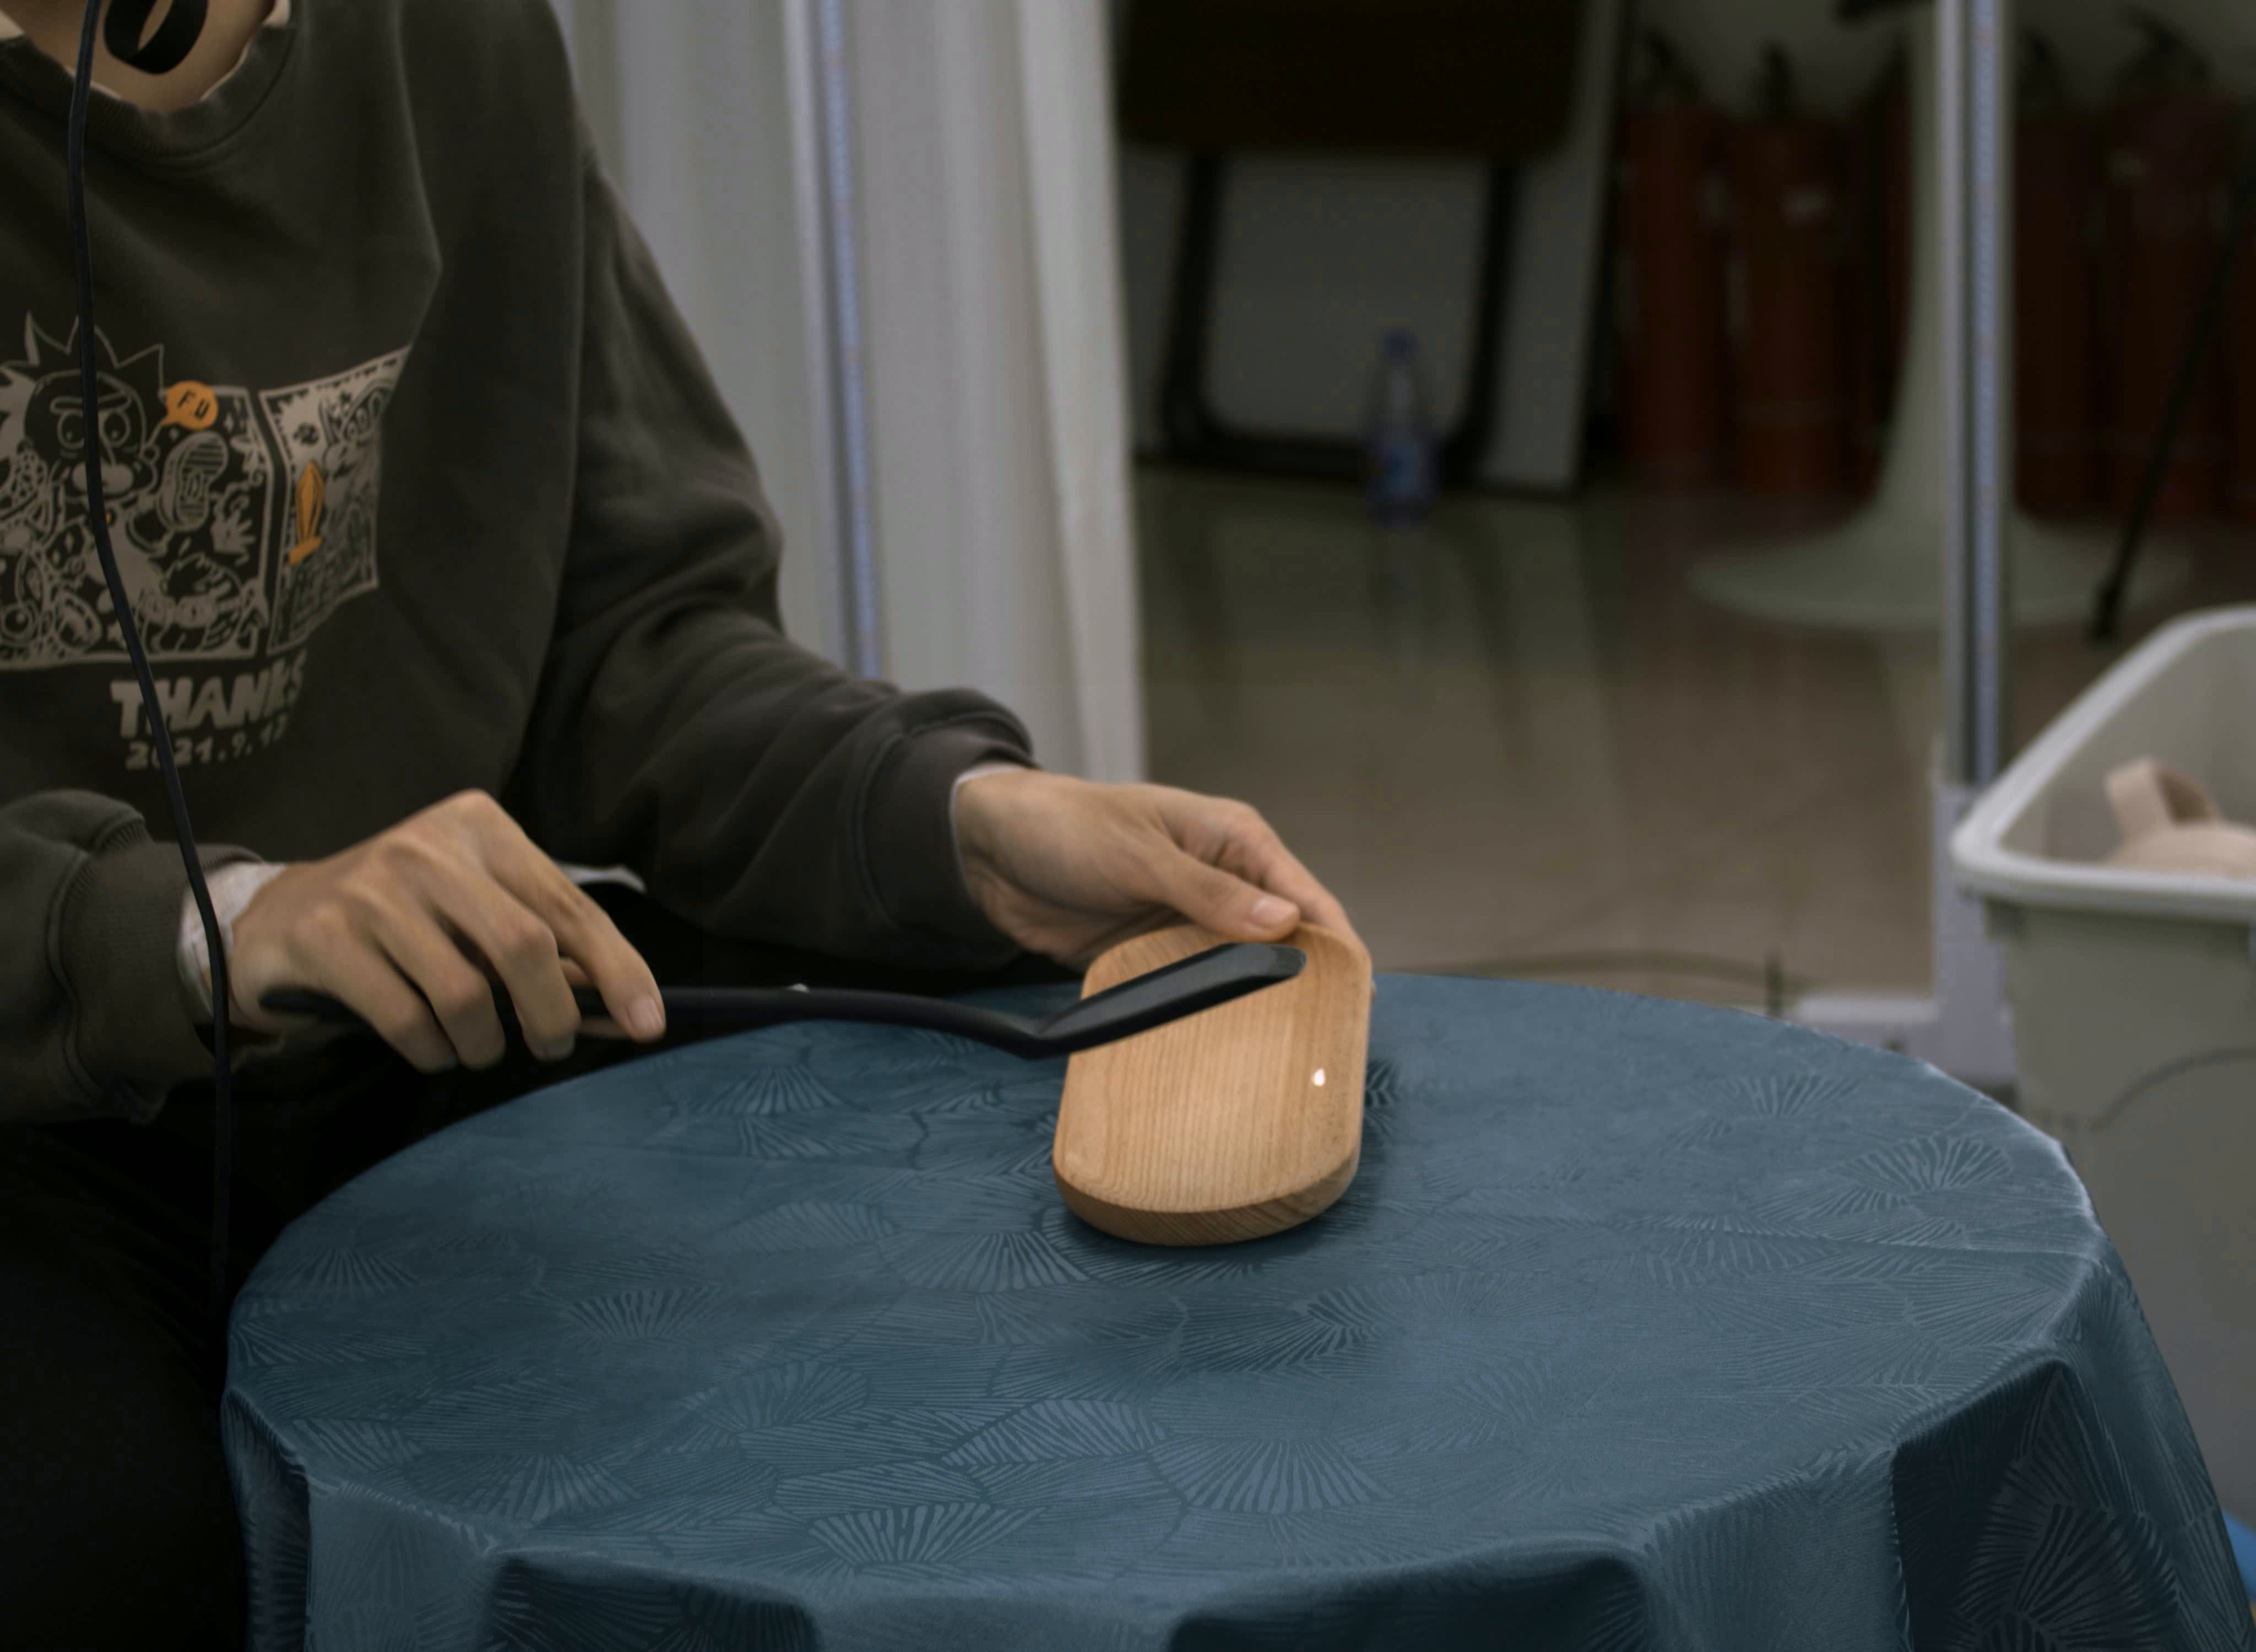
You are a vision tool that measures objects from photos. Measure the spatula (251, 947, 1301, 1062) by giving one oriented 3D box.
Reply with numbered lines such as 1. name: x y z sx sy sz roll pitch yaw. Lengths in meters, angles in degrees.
1. spatula: -0.108 0.047 1.672 0.322 0.041 0.100 5 1 -1

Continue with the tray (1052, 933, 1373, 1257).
1. tray: 0.031 0.088 1.806 0.101 0.020 0.231 -5 23 7
